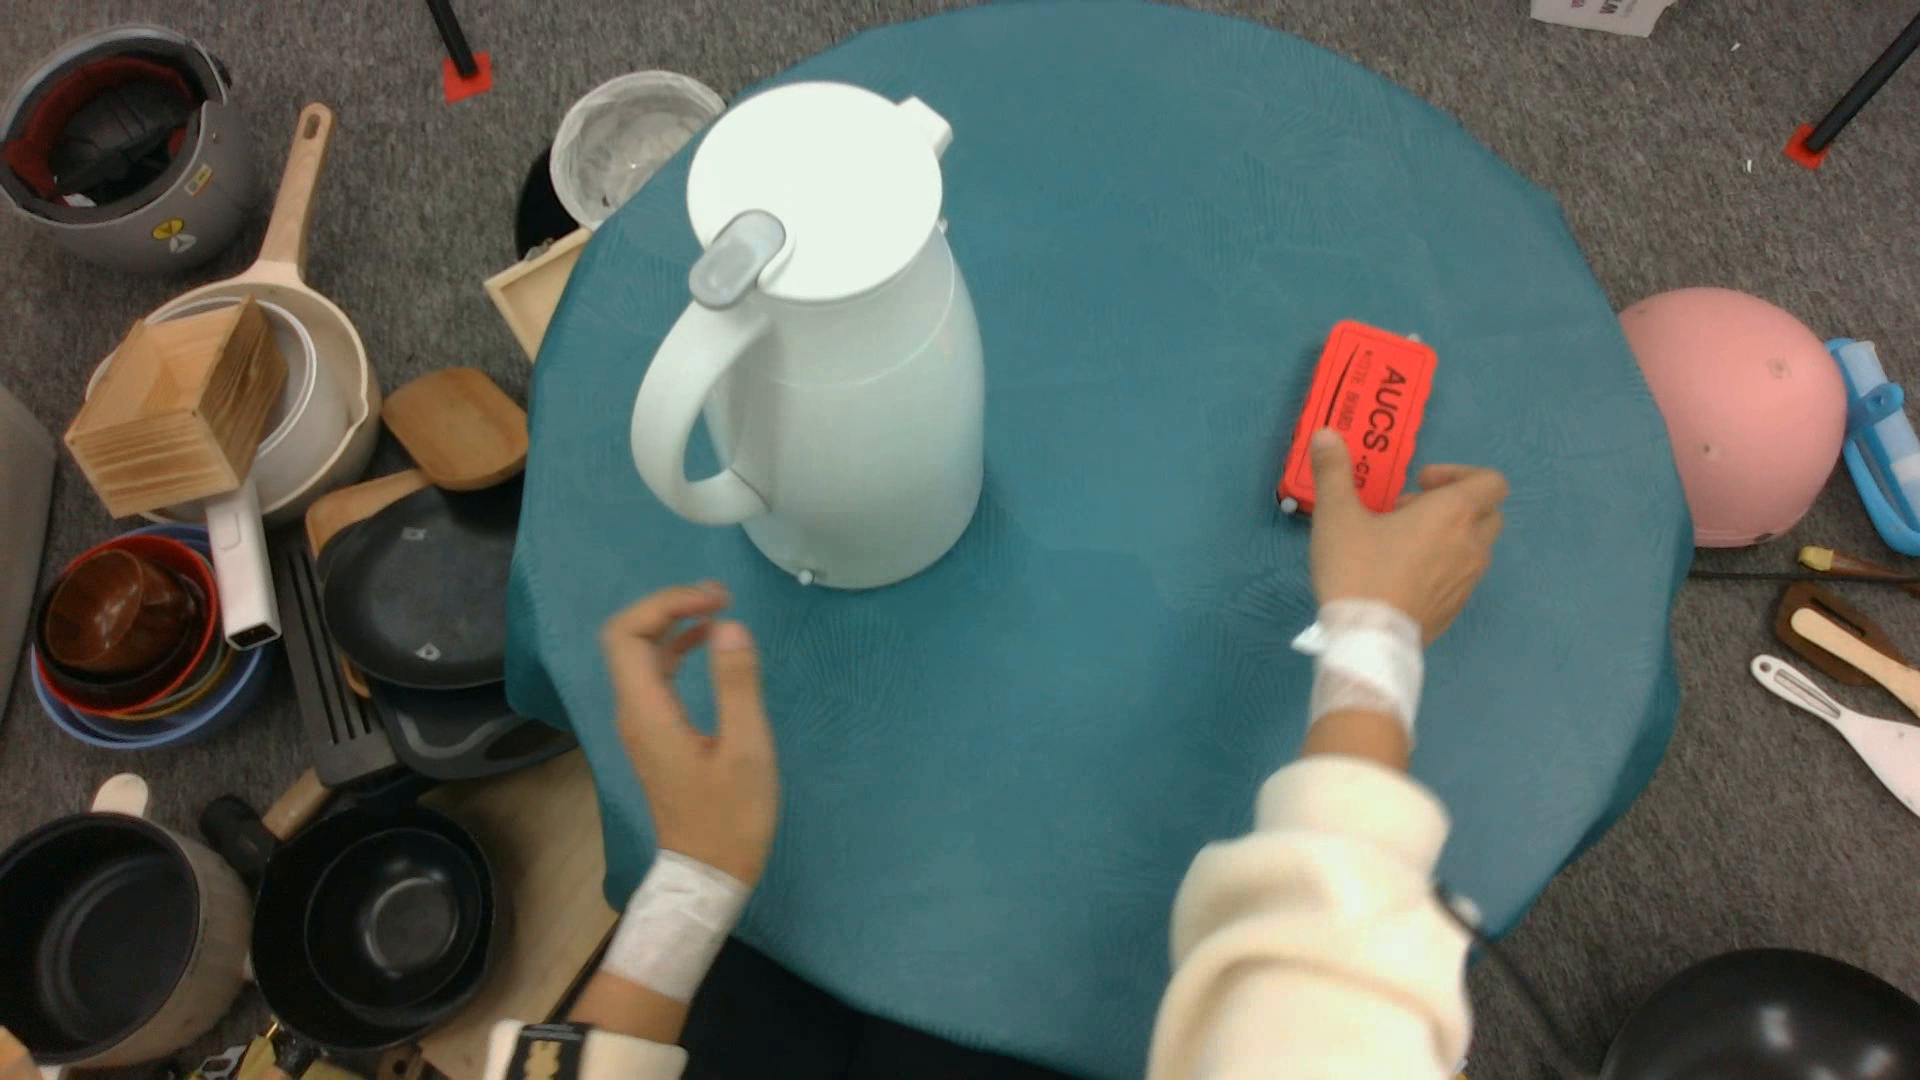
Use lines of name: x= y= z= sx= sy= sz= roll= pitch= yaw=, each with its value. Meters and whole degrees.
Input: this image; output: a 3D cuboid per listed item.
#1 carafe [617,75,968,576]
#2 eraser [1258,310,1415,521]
carafe: x=-0.072 y=-0.074 z=0.596 sx=0.132 sy=0.248 sz=0.168 roll=39 pitch=73 yaw=13
eraser: x=0.198 y=-0.066 z=0.722 sx=0.059 sy=0.023 sz=0.108 roll=19 pitch=68 yaw=8
